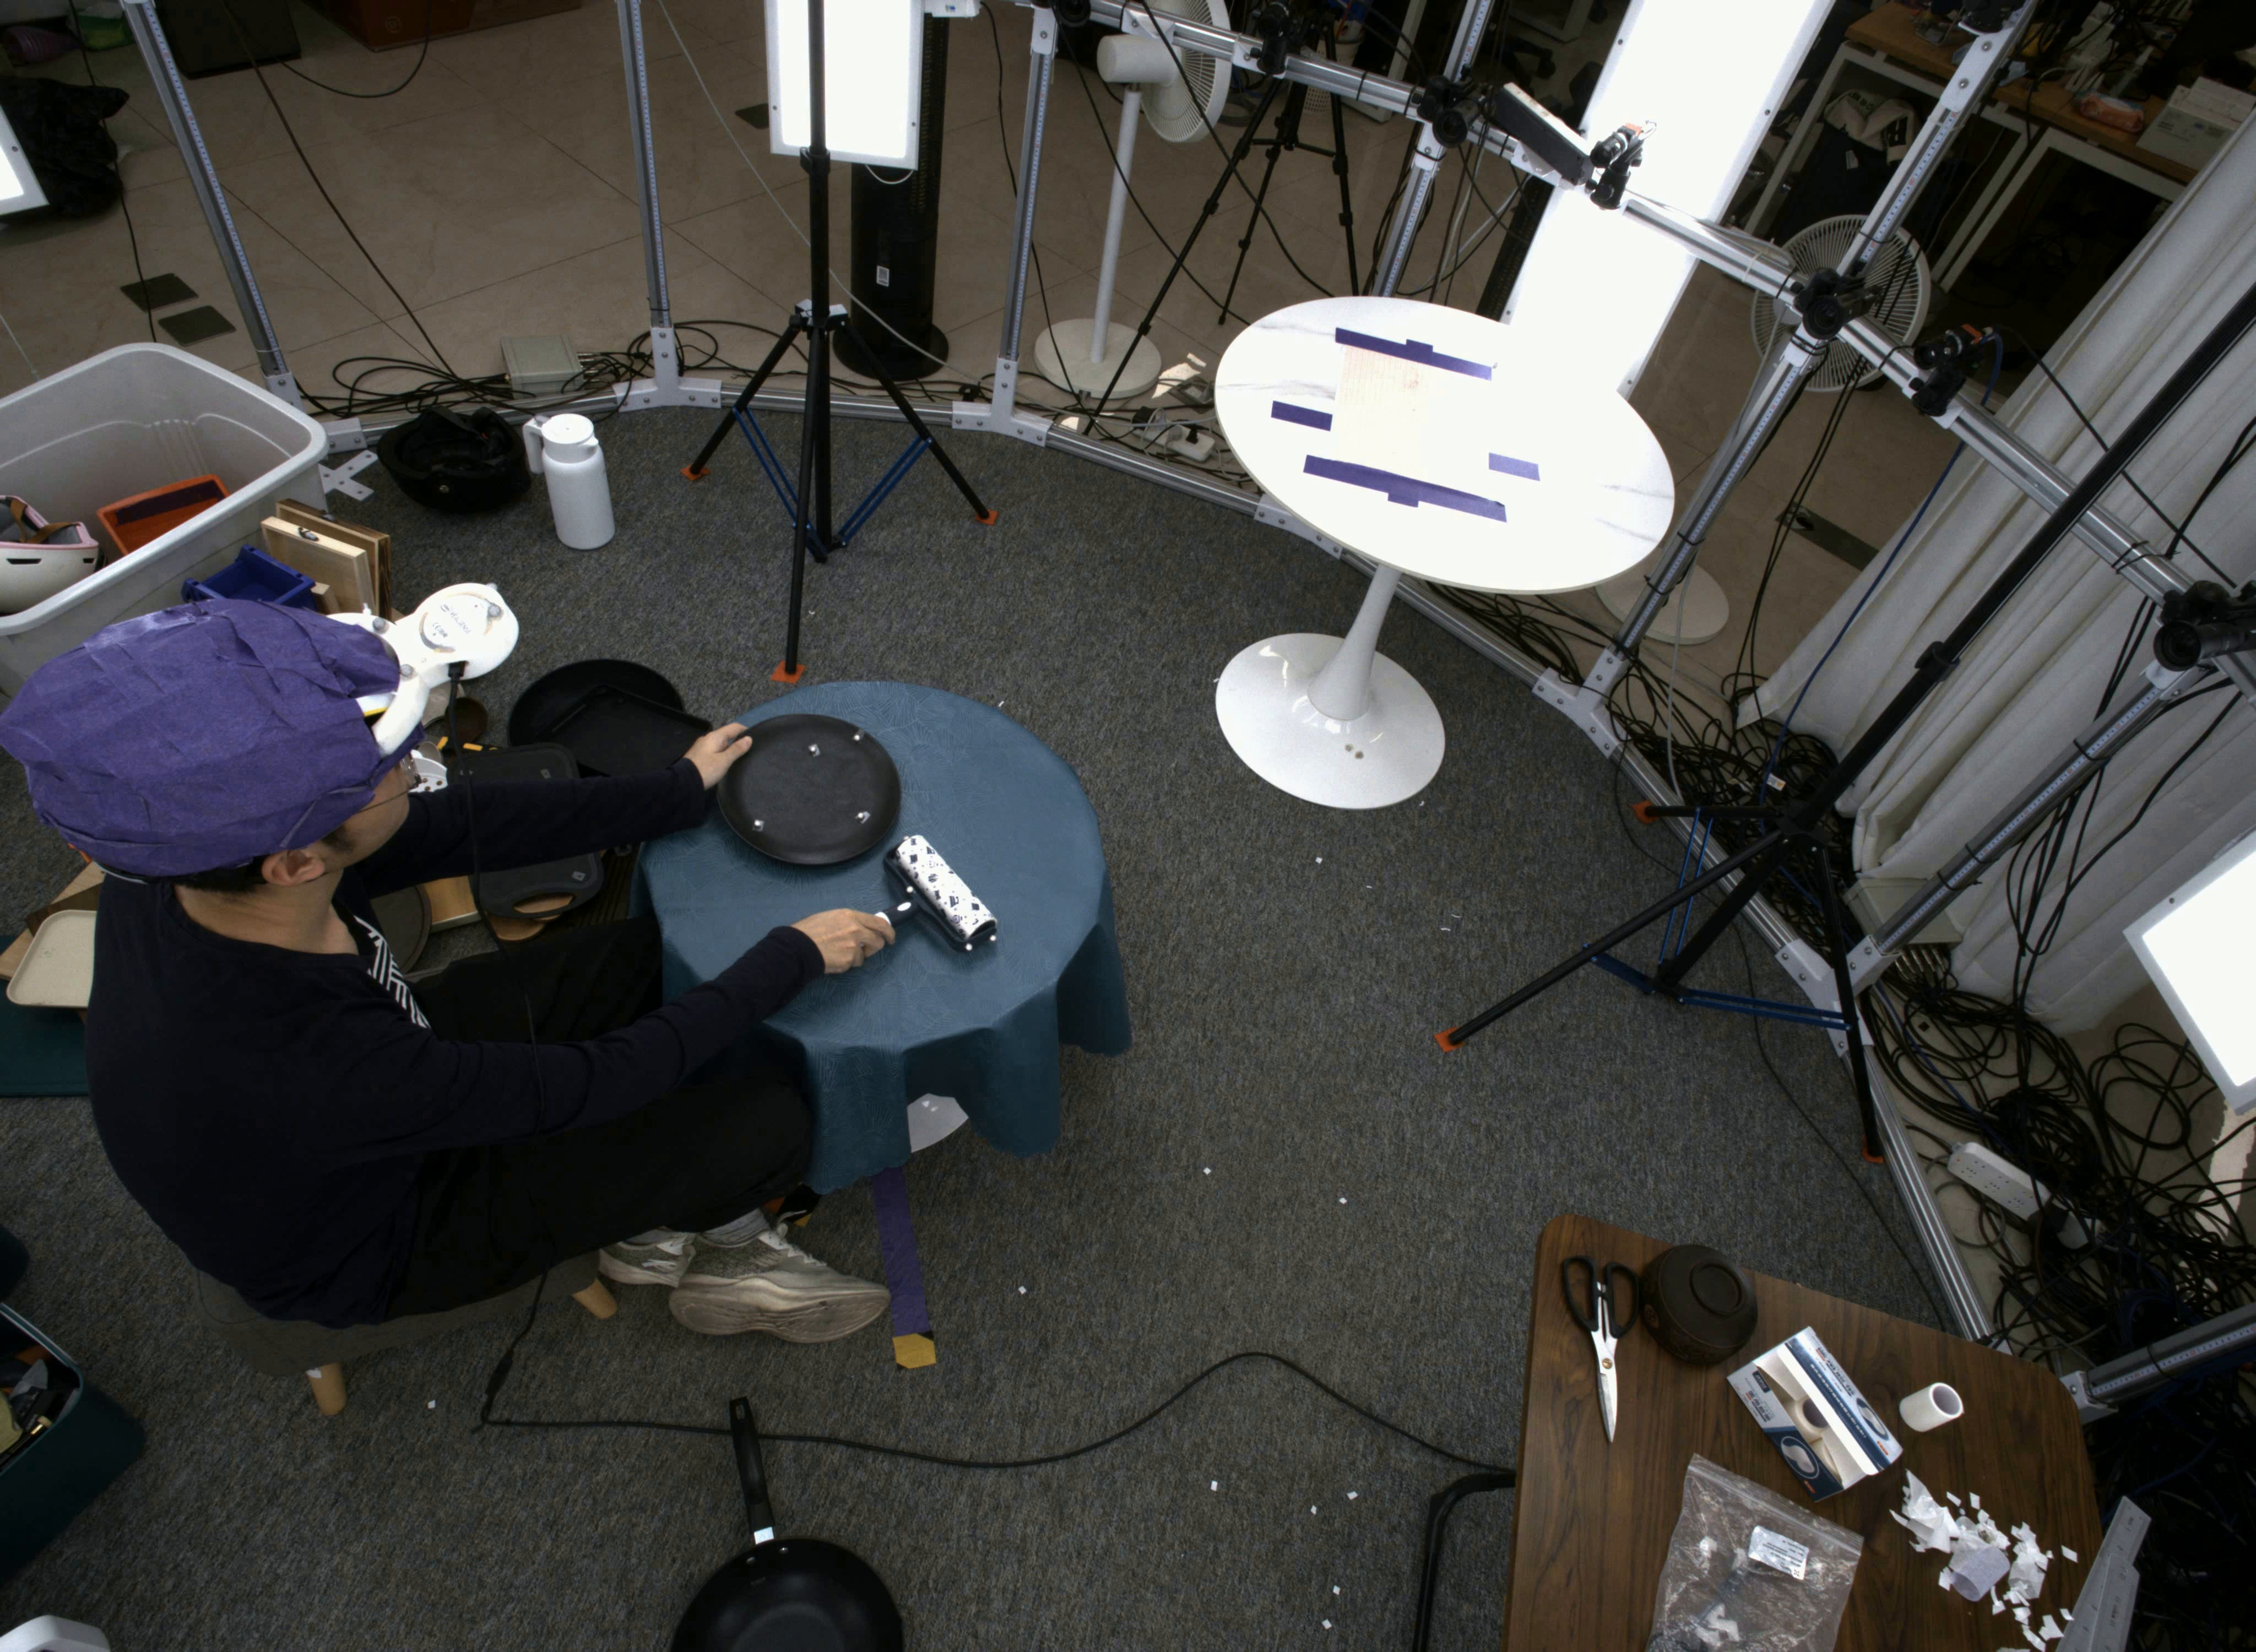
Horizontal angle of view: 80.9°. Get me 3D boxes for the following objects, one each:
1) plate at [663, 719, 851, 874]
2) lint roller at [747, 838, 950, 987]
[{"bbox_3d":[-0.491,-0.038,1.718,0.245,0.024,0.240,11,56,-14],"label":"plate"},{"bbox_3d":[-0.363,0.124,1.613,0.172,0.051,0.248,44,51,19],"label":"lint roller"}]
